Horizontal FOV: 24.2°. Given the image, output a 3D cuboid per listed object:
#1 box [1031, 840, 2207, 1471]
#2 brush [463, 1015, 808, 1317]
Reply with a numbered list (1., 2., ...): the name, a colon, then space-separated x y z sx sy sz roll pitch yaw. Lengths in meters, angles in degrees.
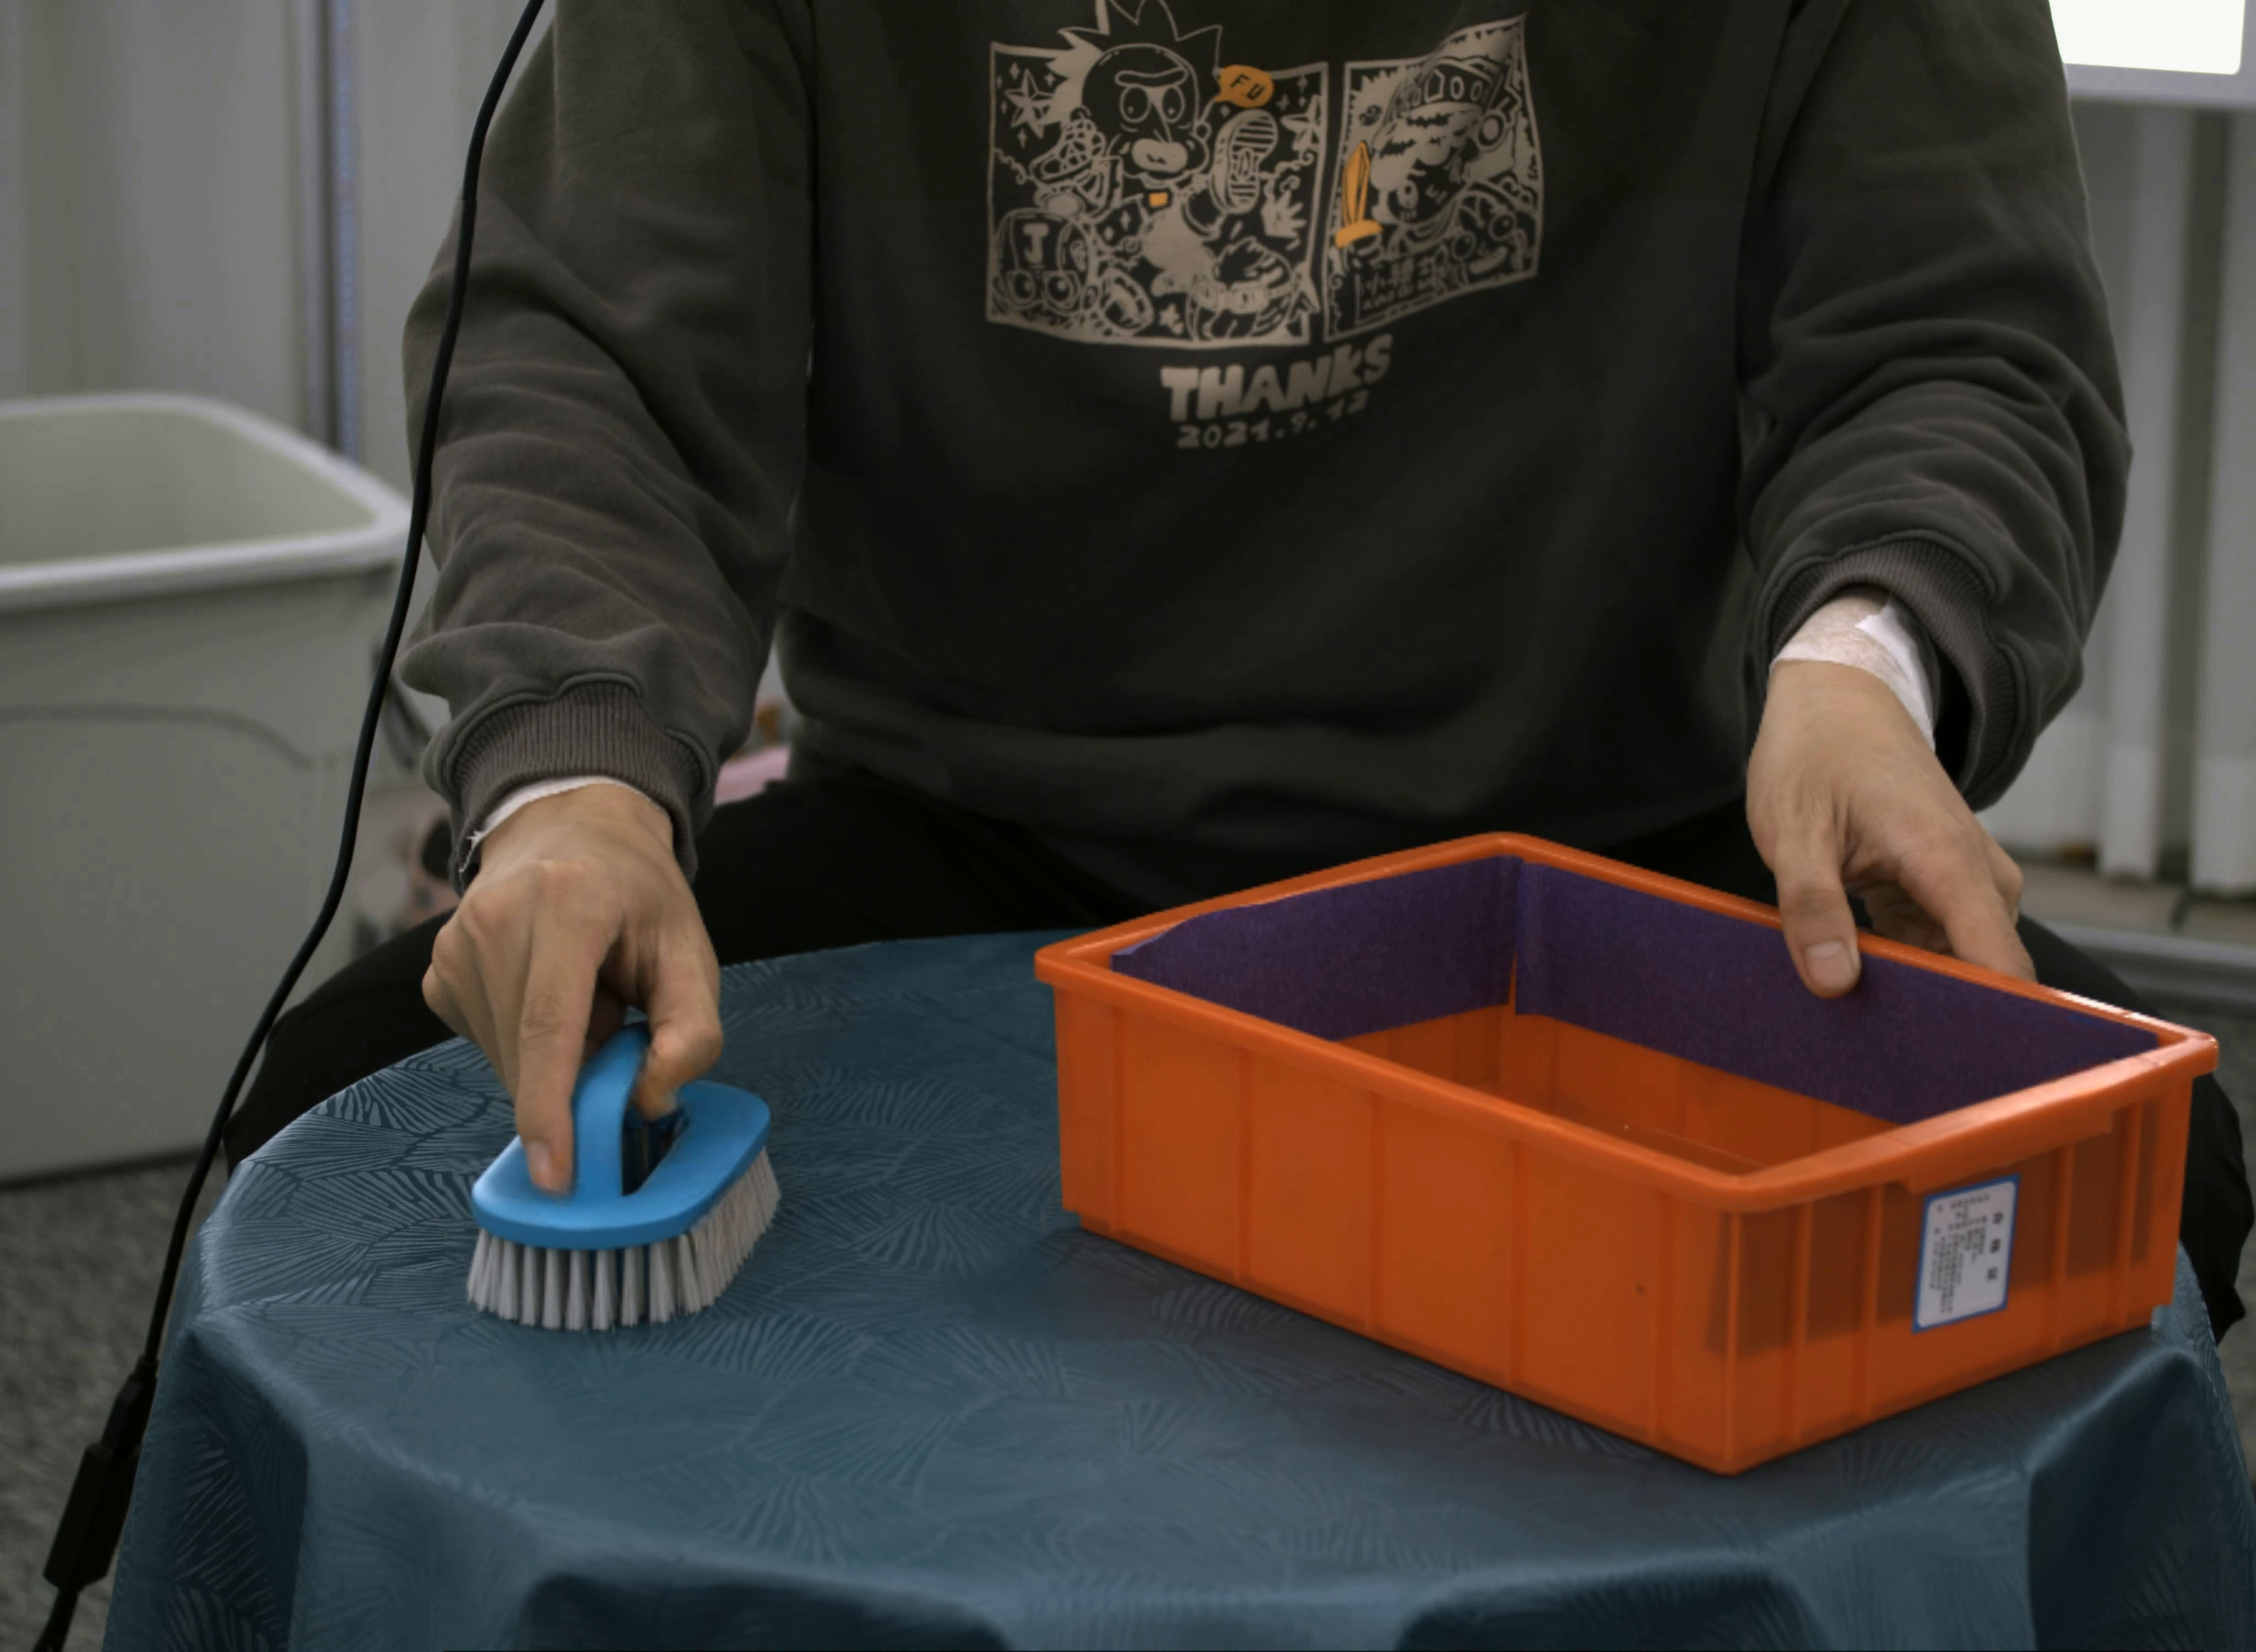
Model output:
1. box: 0.139 0.091 1.552 0.207 0.097 0.299 -13 21 -39
2. brush: -0.148 0.095 1.566 0.084 0.064 0.141 -1 14 13
